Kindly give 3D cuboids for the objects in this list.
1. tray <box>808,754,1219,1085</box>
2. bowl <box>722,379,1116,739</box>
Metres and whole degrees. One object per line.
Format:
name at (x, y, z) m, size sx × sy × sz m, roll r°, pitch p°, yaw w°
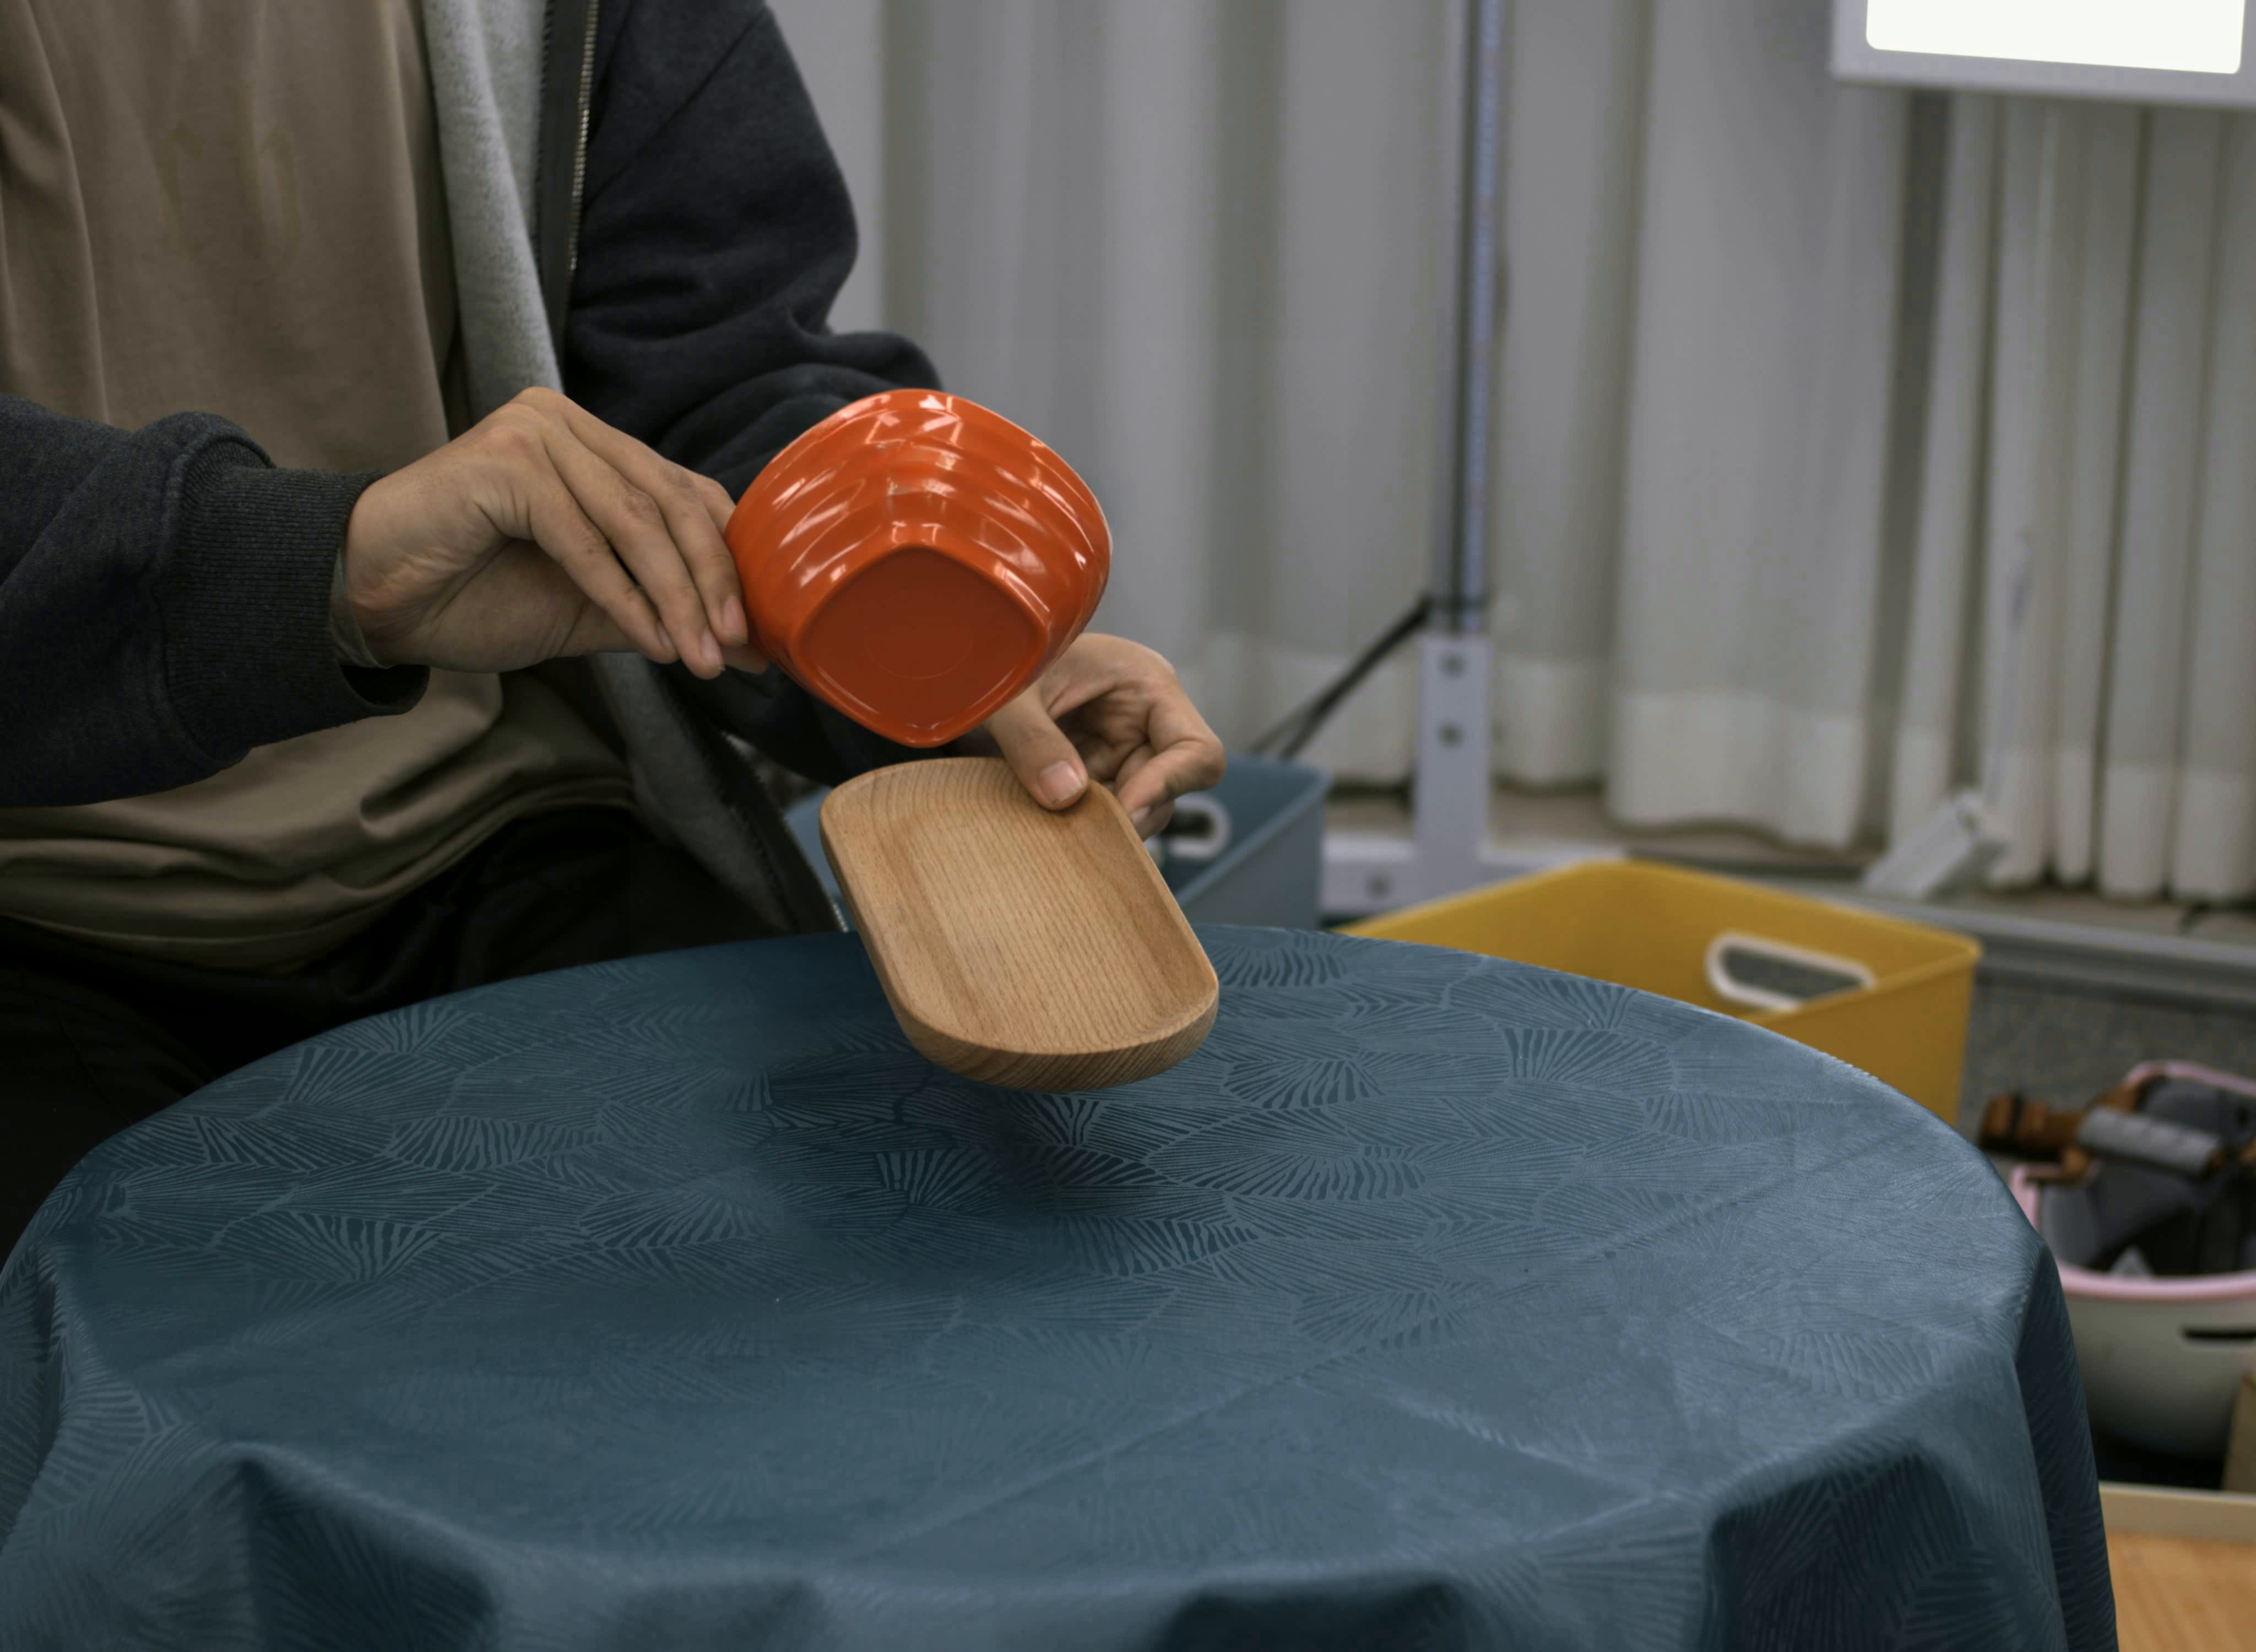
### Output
tray at (-0.039, 0.027, 1.674) m, size 0.102 × 0.020 × 0.228 m, roll -4°, pitch 23°, yaw -14°
bowl at (-0.062, -0.070, 1.566) m, size 0.119 × 0.120 × 0.051 m, roll 0°, pitch 41°, yaw -4°
